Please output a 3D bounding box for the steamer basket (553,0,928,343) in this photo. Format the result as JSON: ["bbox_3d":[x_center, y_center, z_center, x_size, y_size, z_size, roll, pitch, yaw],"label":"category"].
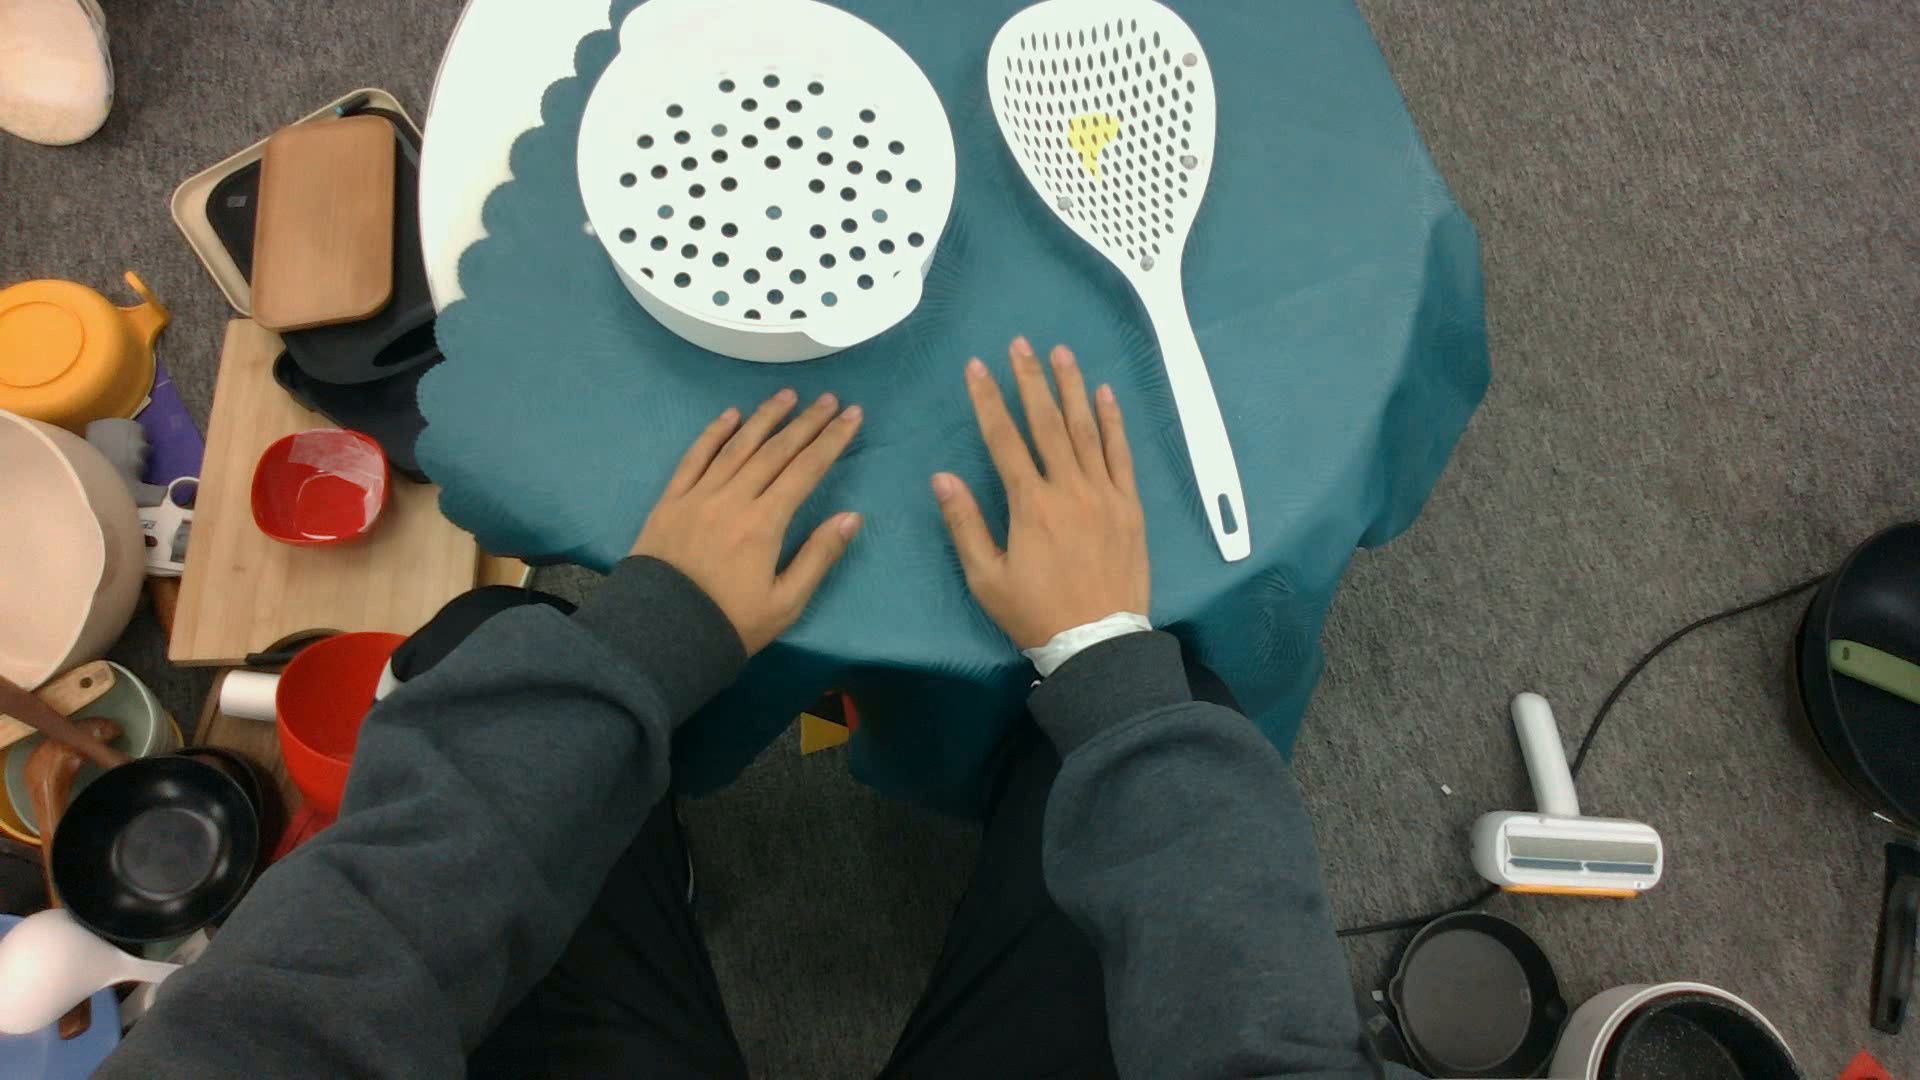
[{"bbox_3d":[-0.120,-0.208,0.771,0.202,0.069,0.231,-32,79,-13],"label":"steamer basket"}]

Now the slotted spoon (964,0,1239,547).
[{"bbox_3d":[0.099,-0.163,0.800,0.137,0.050,0.348,-14,77,-15],"label":"slotted spoon"}]
